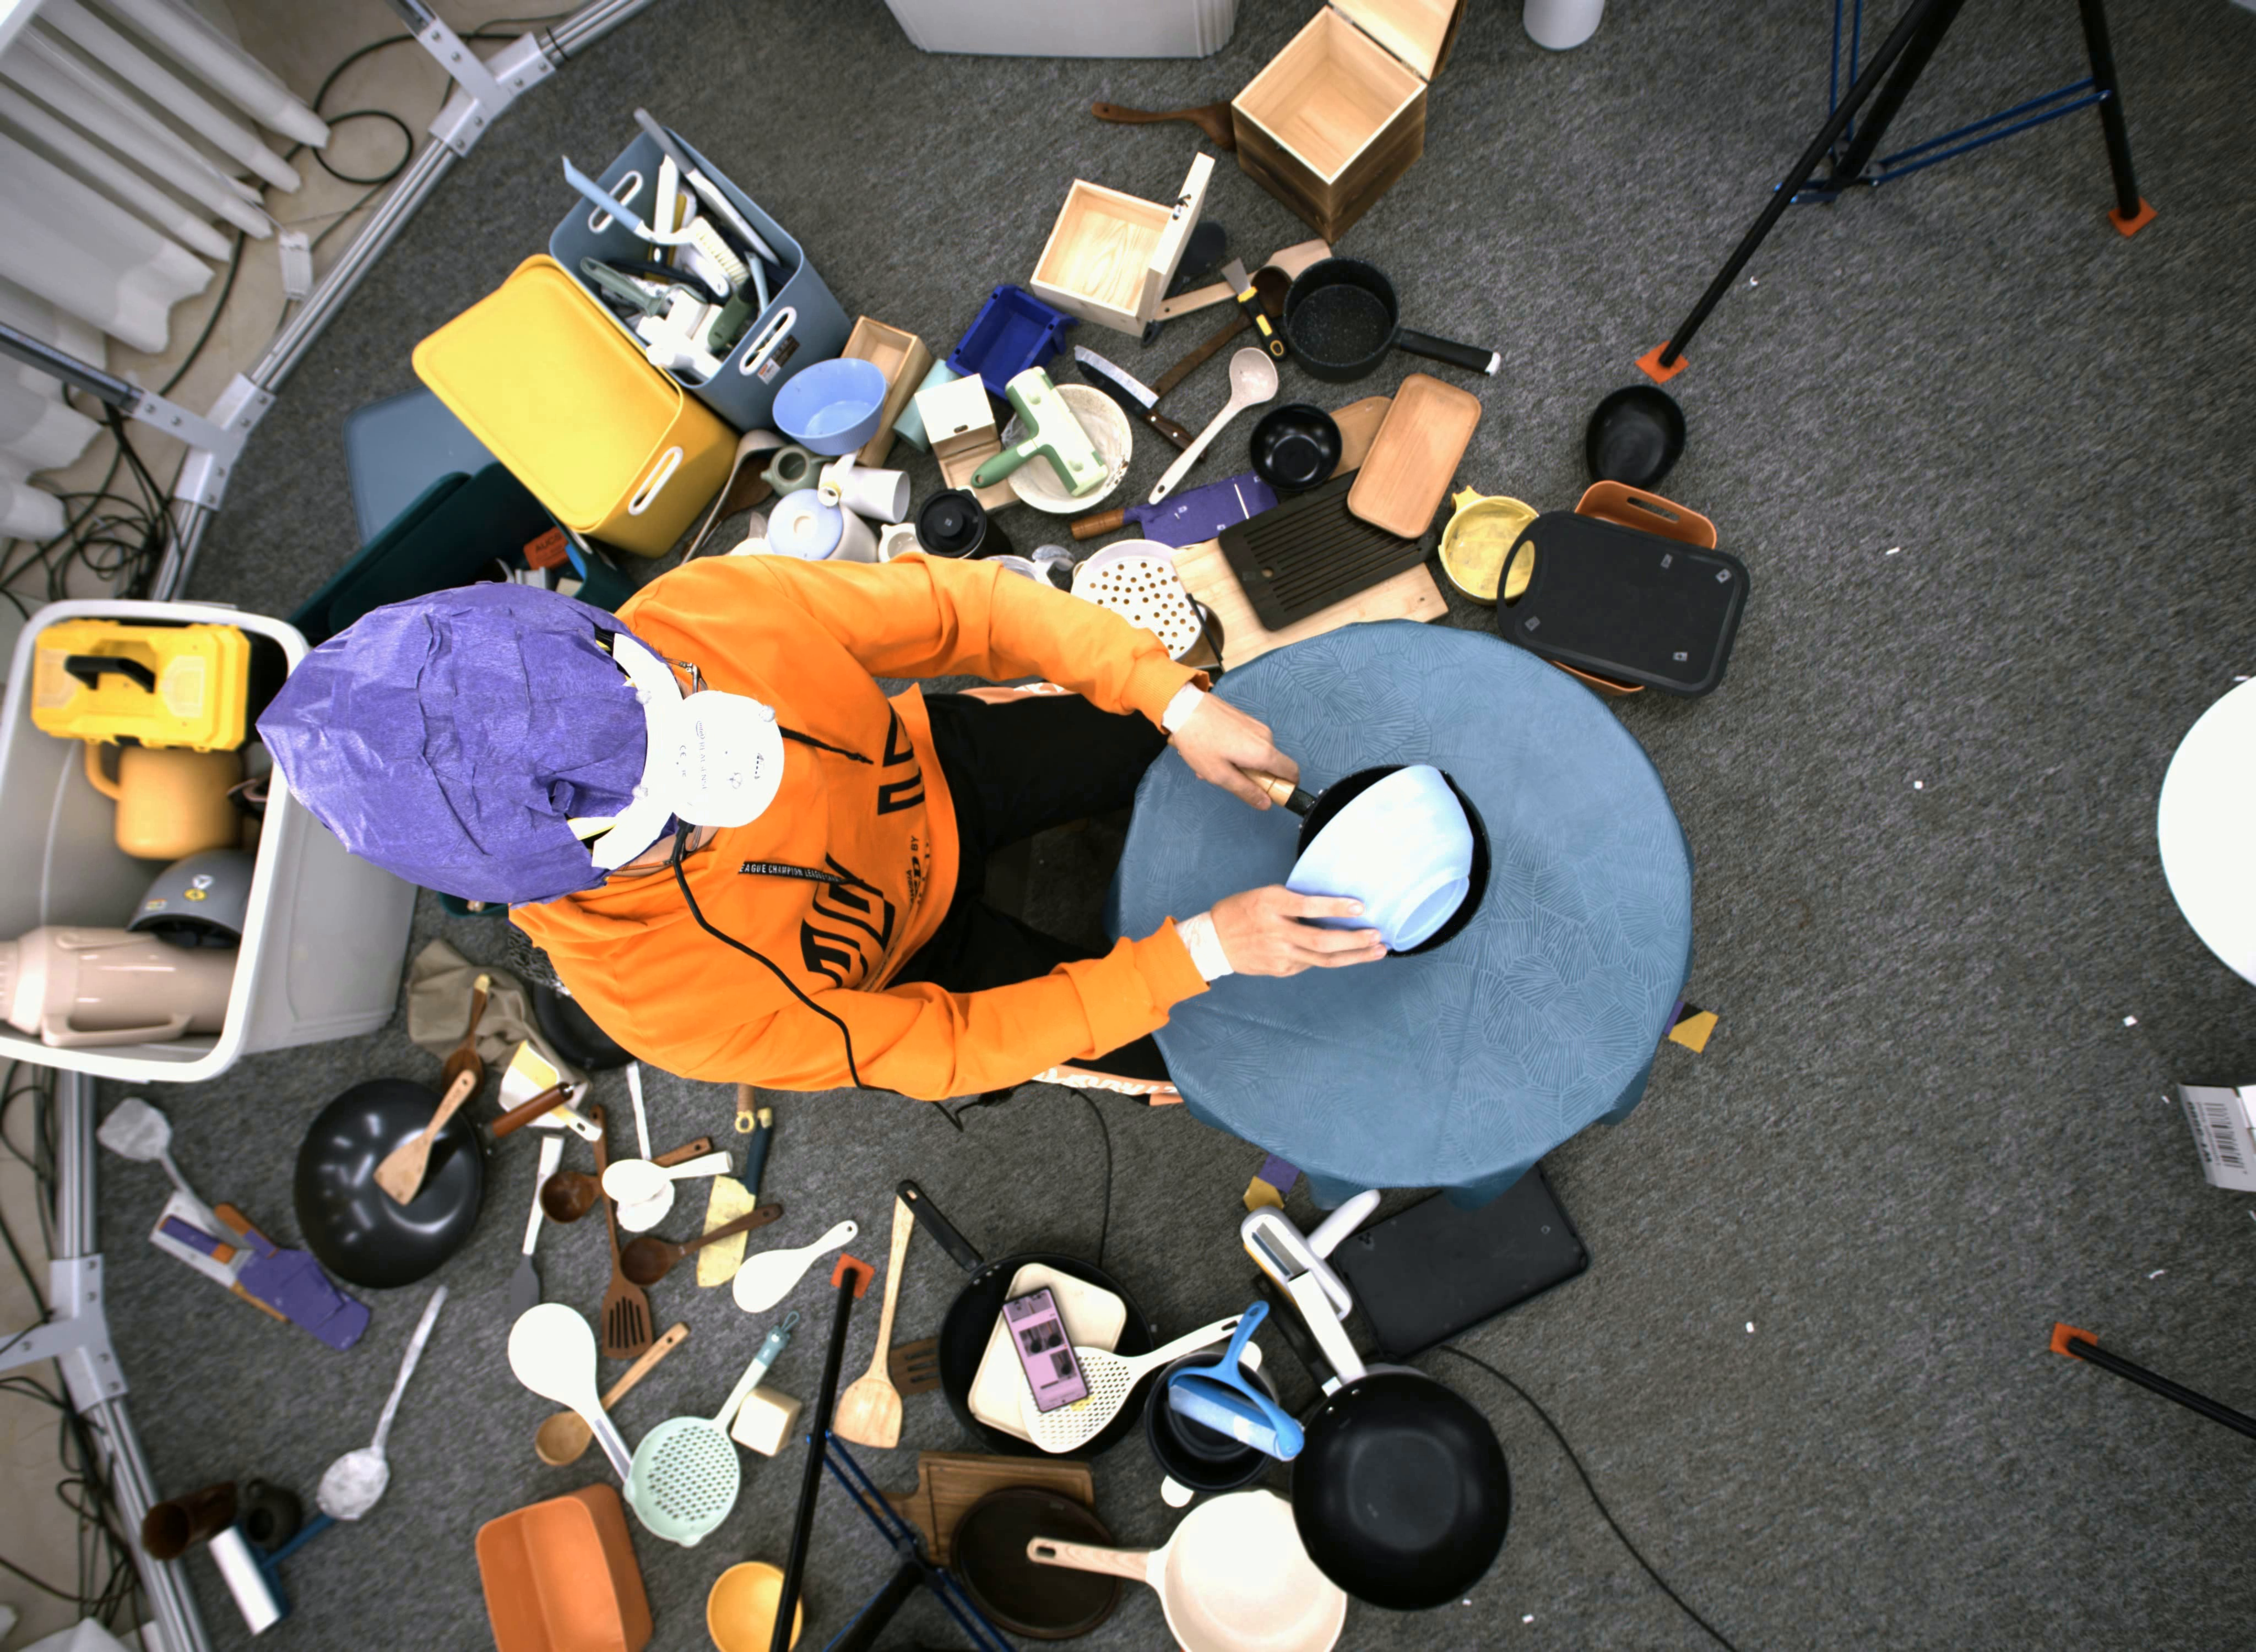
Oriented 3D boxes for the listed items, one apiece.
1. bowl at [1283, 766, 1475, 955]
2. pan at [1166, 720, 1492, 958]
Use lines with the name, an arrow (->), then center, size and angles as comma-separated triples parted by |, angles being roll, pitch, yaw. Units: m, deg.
bowl -> 0.245, 0.049, 1.257 | 0.197, 0.198, 0.094 | -43, 61, 4
pan -> 0.194, -0.010, 1.354 | 0.342, 0.107, 0.210 | 31, 108, 12
